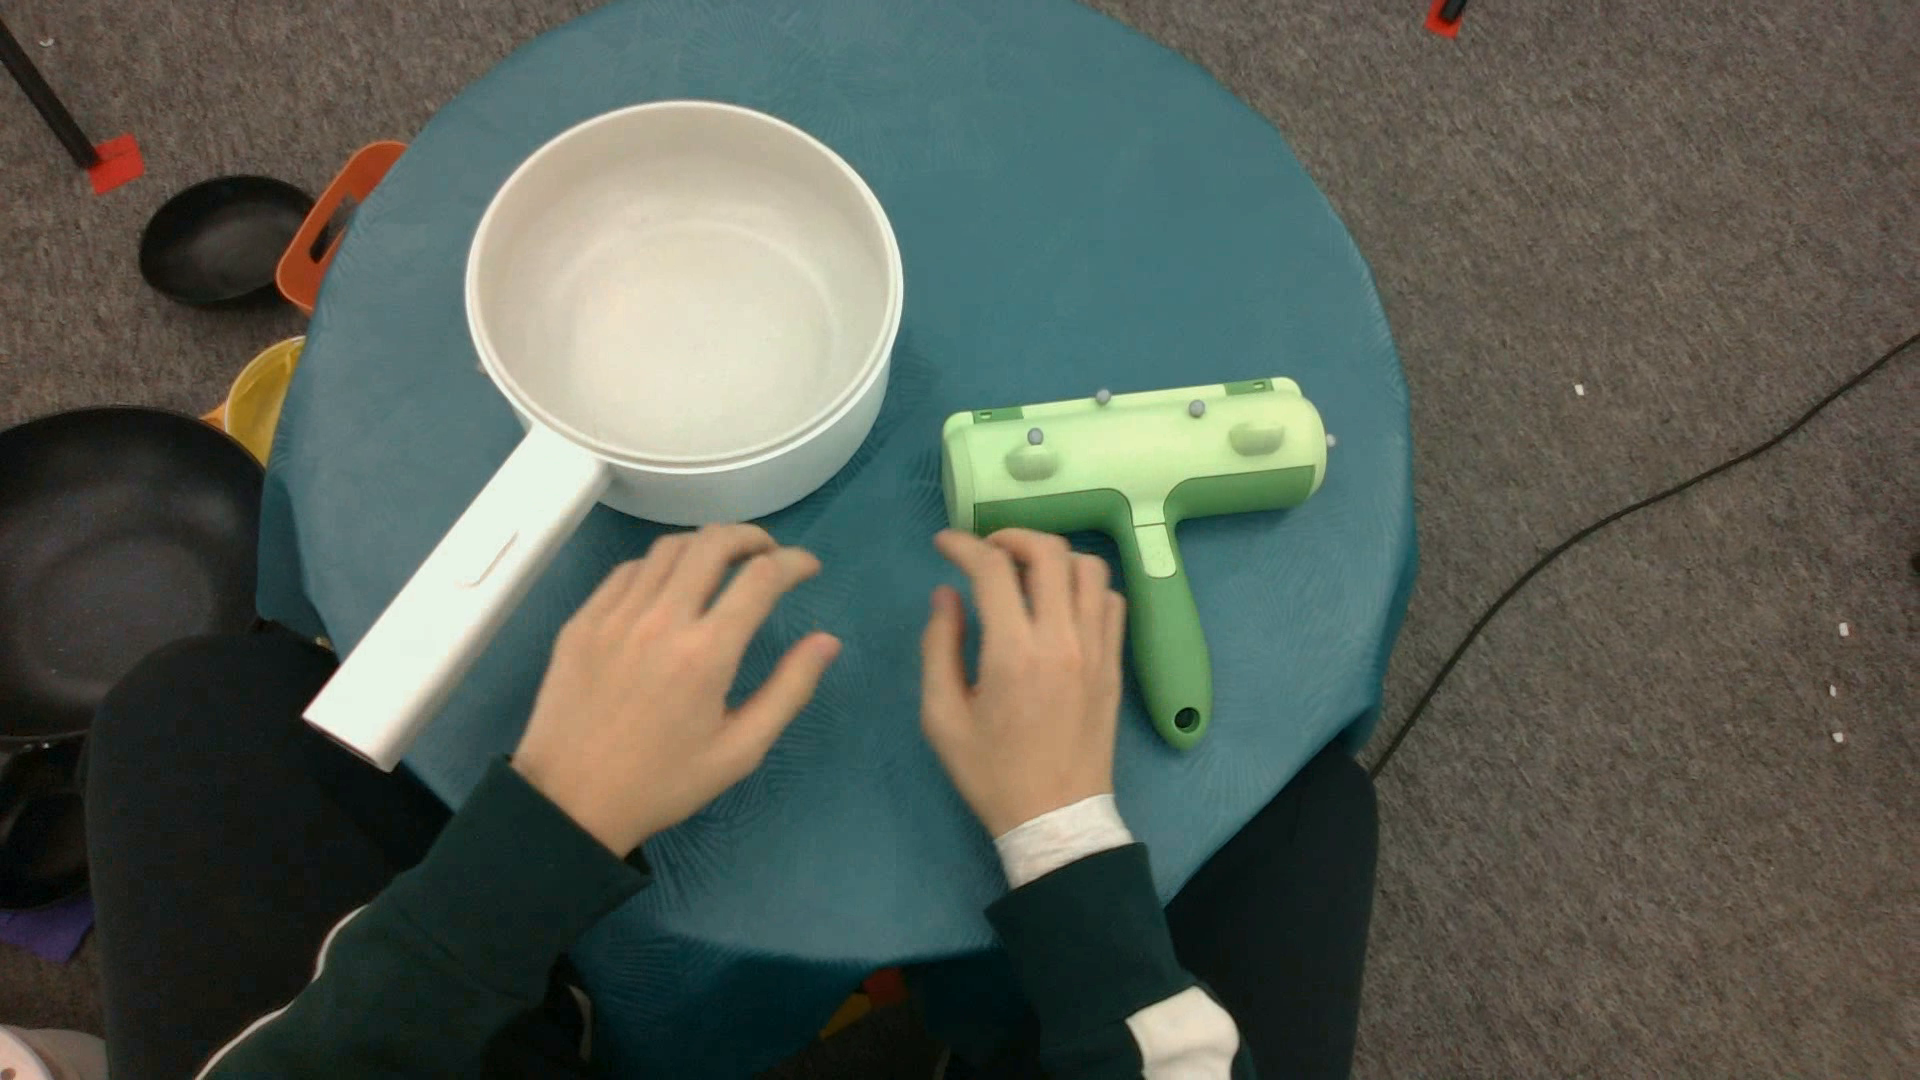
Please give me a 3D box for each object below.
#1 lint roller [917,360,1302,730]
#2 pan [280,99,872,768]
[{"bbox_3d":[0.089,-0.003,0.684,0.199,0.082,0.184,-8,63,-10],"label":"lint roller"},{"bbox_3d":[-0.181,-0.047,0.661,0.201,0.101,0.356,28,68,4],"label":"pan"}]
